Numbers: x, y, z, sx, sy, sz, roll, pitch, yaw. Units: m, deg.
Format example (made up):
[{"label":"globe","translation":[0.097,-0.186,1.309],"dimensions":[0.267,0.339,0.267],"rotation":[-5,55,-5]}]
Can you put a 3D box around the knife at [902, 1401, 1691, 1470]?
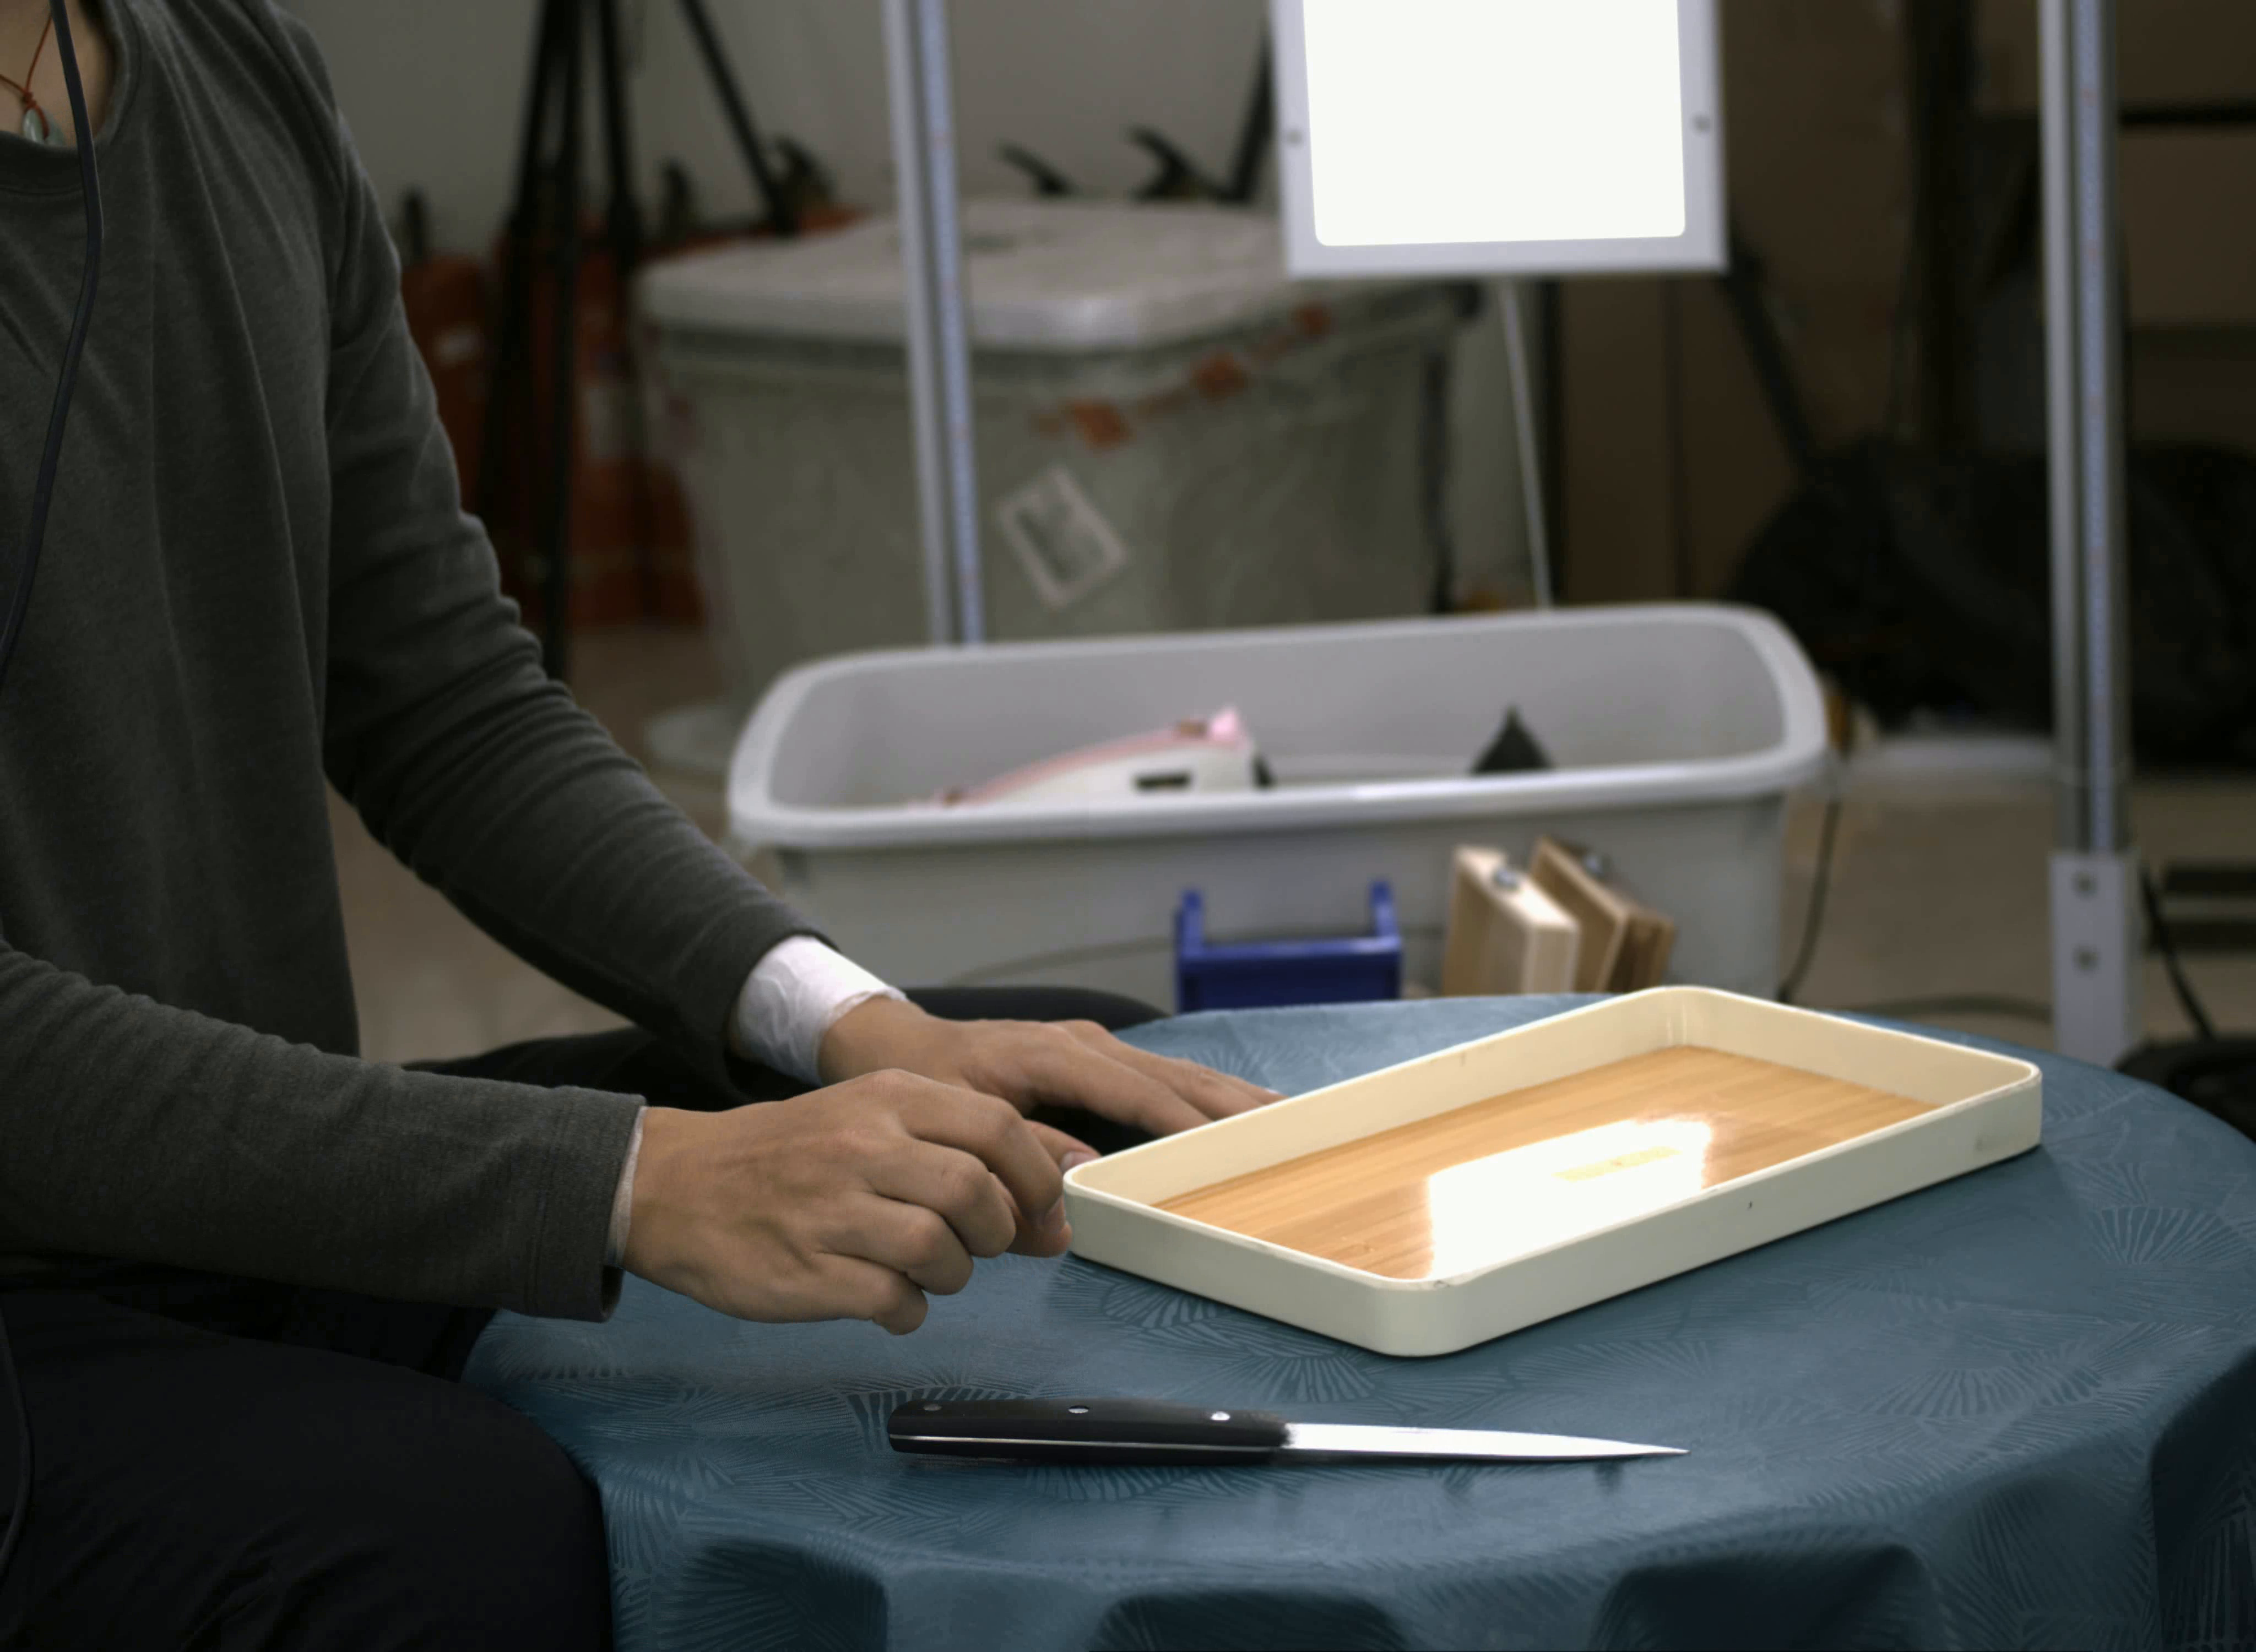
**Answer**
[{"label":"knife","translation":[0.049,0.182,1.633],"dimensions":[0.239,0.016,0.024],"rotation":[0,17,11]}]

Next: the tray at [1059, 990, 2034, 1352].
[{"label":"tray","translation":[0.145,0.112,1.854],"dimensions":[0.293,0.027,0.195],"rotation":[-15,16,-34]}]
